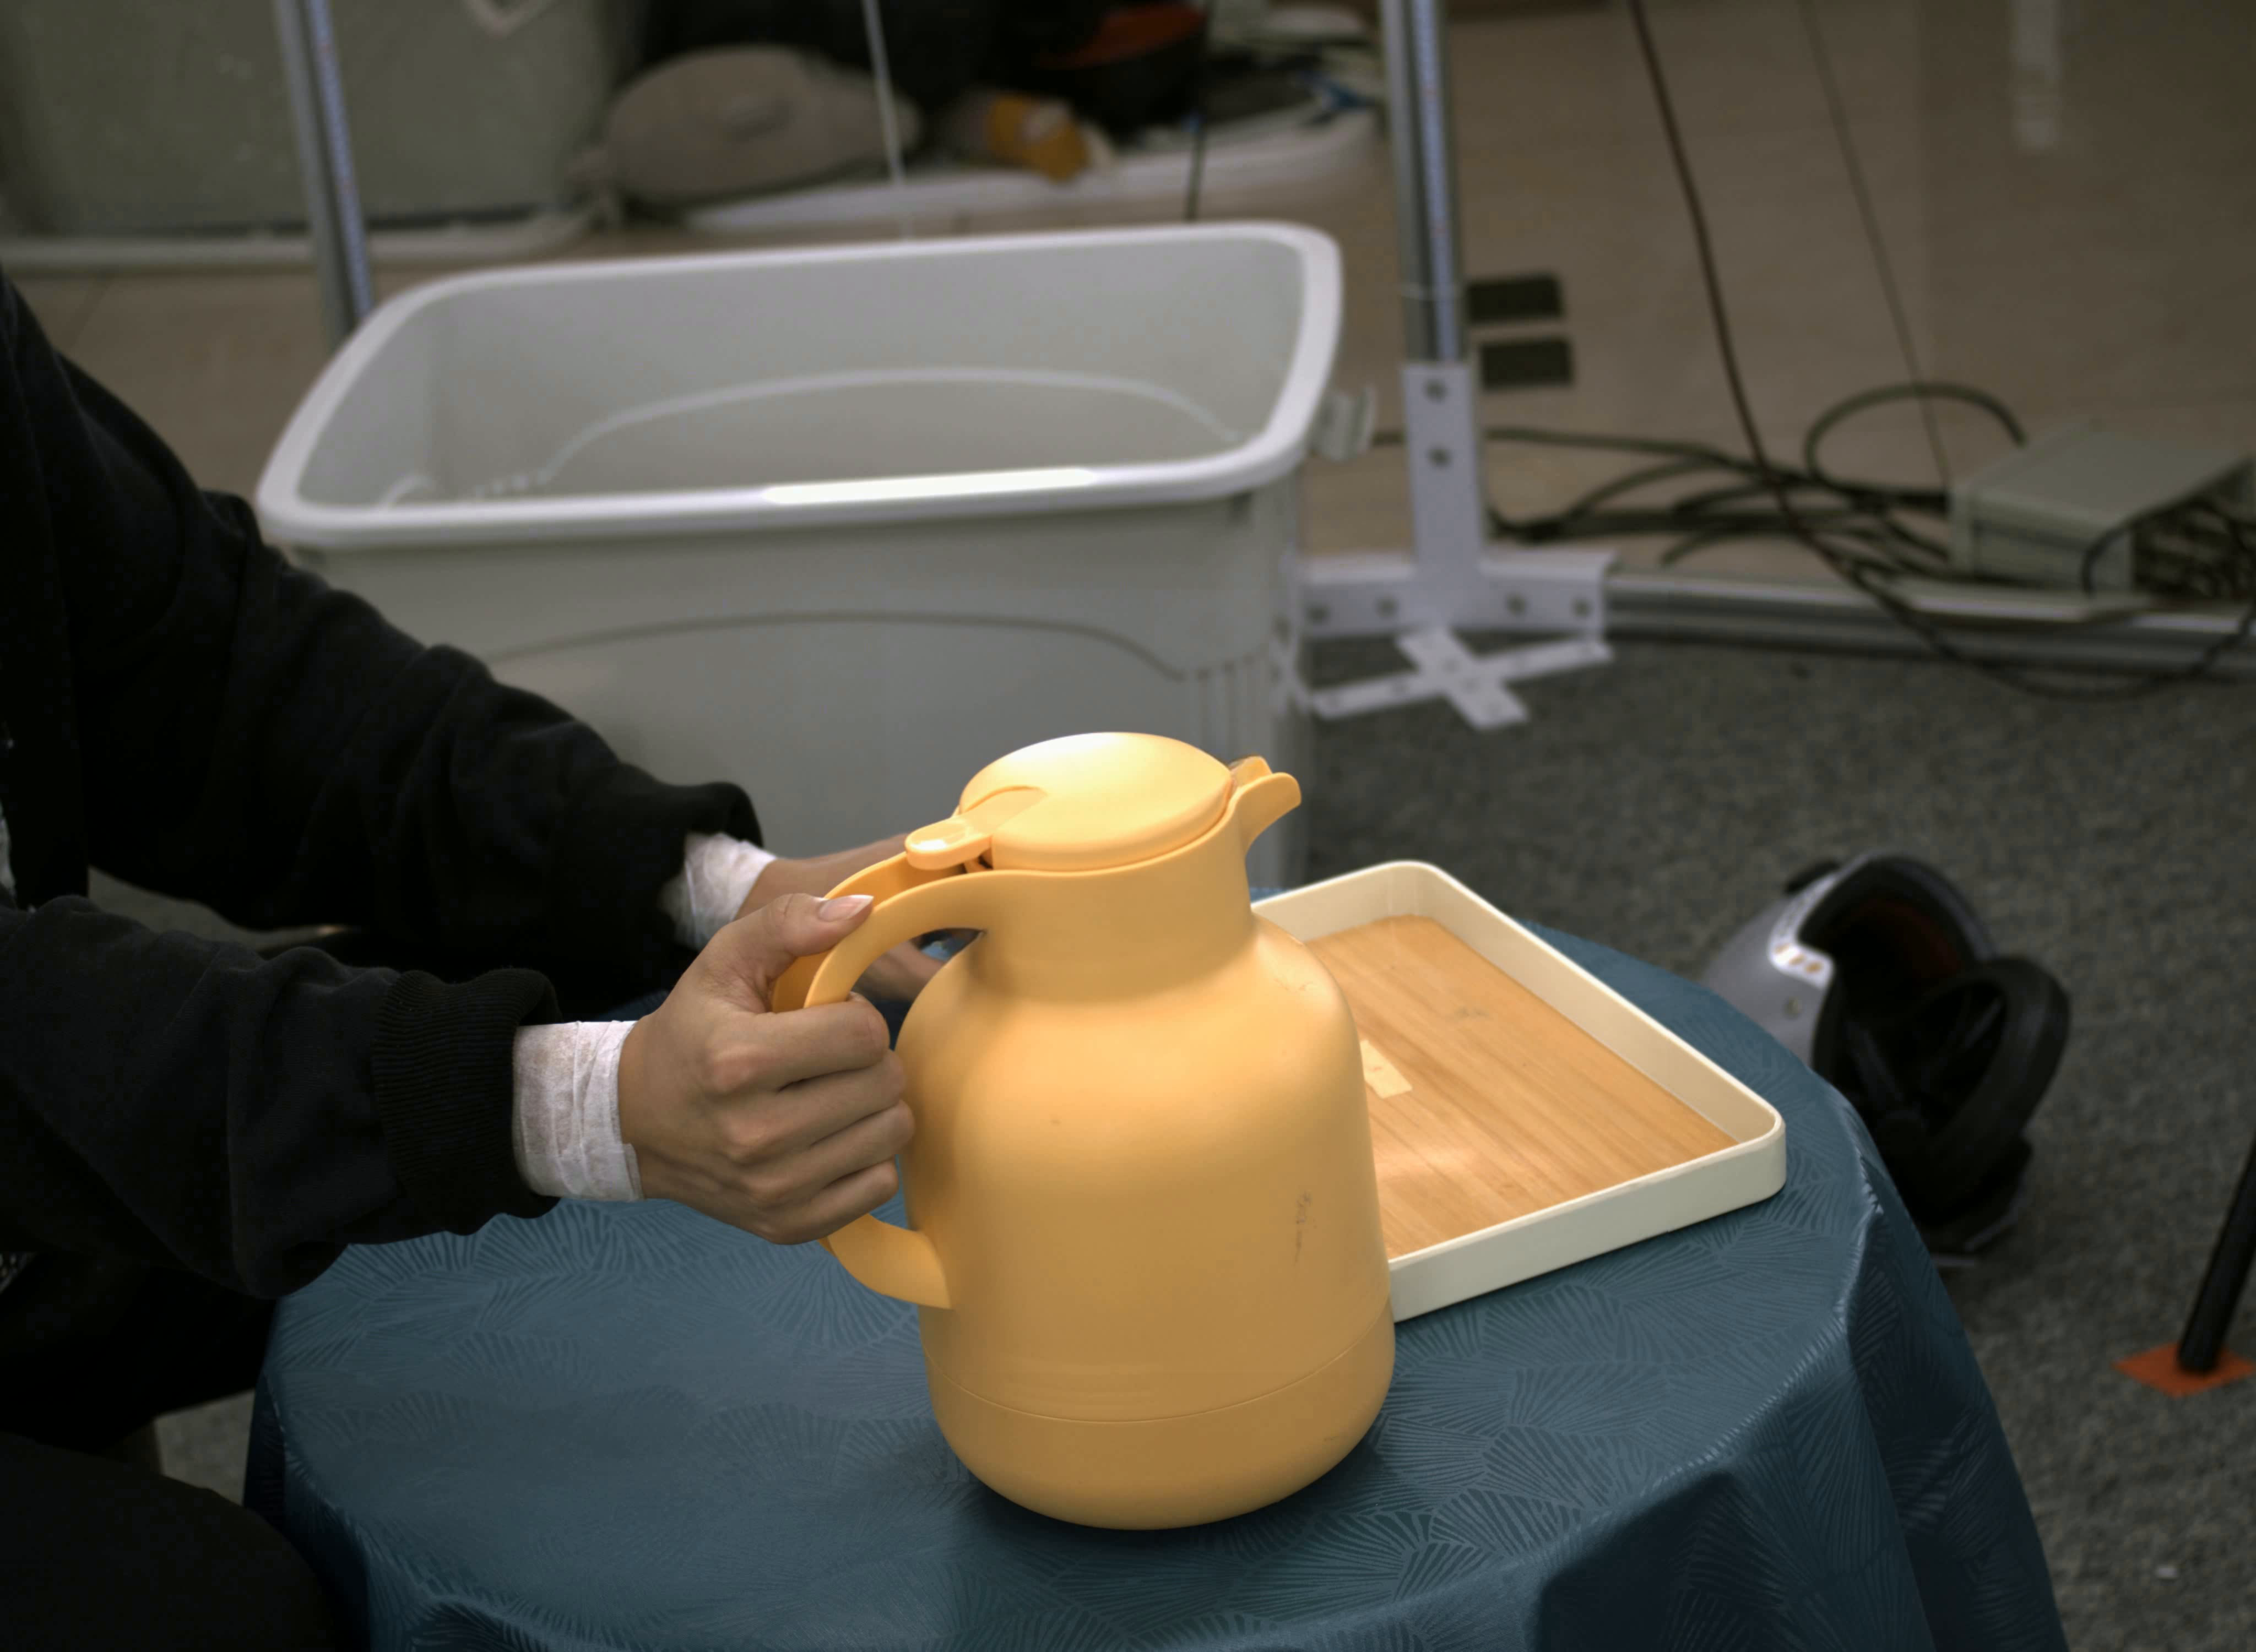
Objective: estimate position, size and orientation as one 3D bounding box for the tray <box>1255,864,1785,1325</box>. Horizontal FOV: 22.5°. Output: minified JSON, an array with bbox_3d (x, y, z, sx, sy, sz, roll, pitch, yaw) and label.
[{"bbox_3d":[0.100,0.098,2.181,0.191,0.028,0.297,-16,26,-21],"label":"tray"}]

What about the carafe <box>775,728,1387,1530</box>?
[{"bbox_3d":[-0.018,0.102,1.917,0.201,0.264,0.161,-15,25,-20],"label":"carafe"}]
